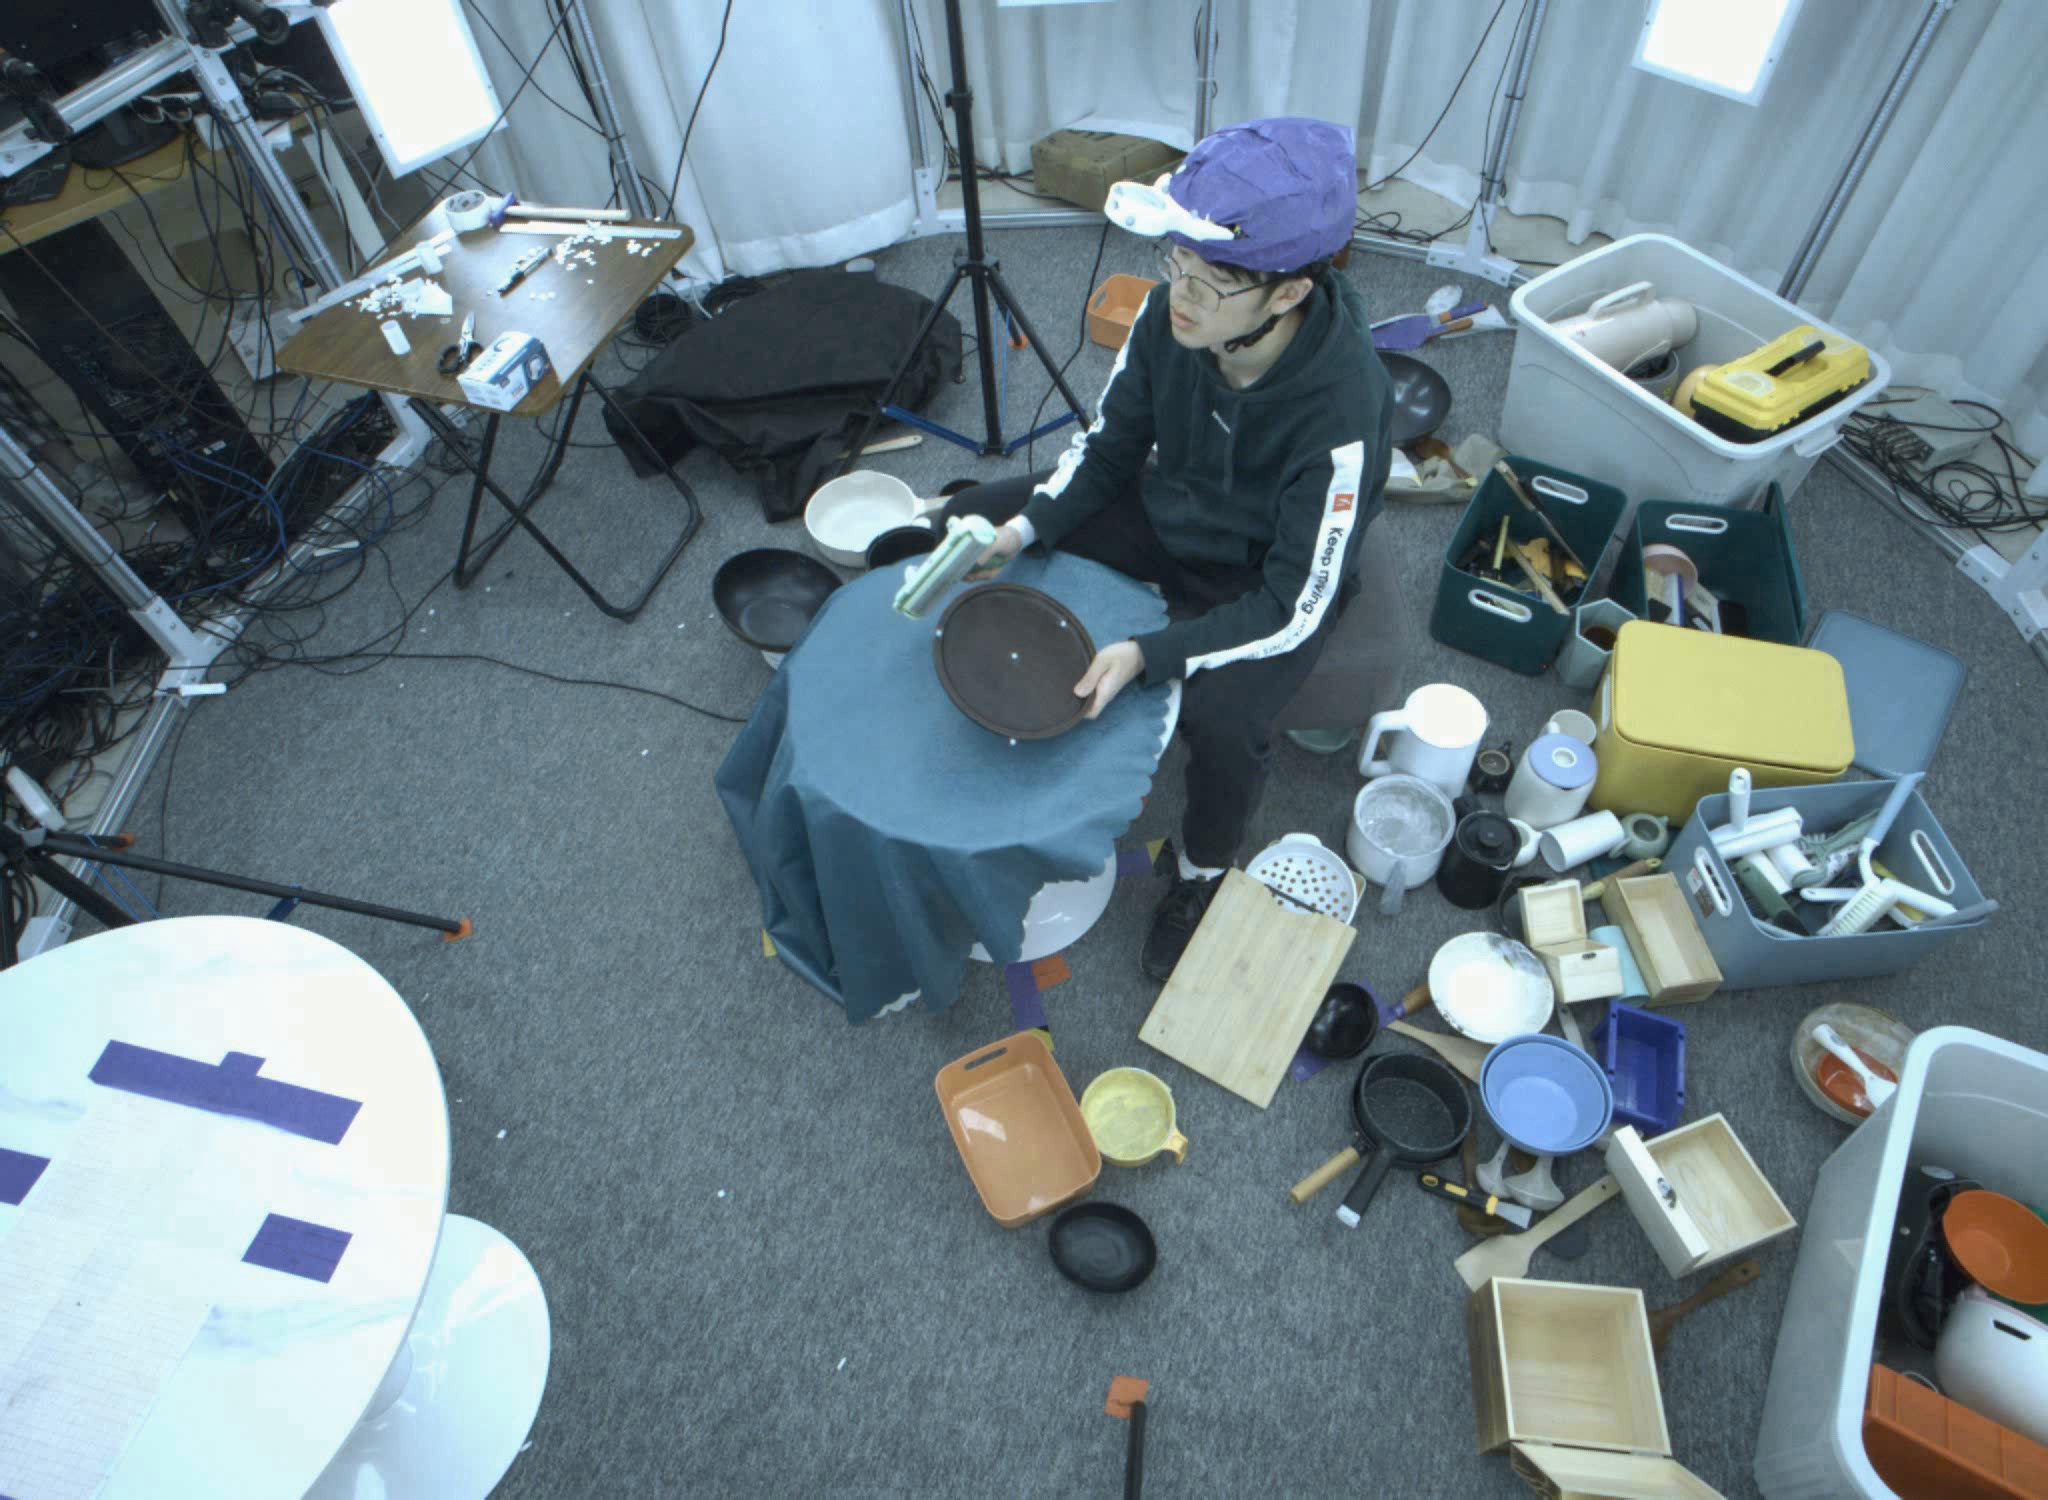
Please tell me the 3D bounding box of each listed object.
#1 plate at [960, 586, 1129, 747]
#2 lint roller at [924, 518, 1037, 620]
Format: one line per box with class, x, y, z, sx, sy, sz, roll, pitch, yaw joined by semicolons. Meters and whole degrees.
plate;0.030;-0.119;1.751;0.258;0.029;0.252;9;65;-17
lint roller;-0.049;-0.292;1.853;0.082;0.196;0.185;51;37;0
